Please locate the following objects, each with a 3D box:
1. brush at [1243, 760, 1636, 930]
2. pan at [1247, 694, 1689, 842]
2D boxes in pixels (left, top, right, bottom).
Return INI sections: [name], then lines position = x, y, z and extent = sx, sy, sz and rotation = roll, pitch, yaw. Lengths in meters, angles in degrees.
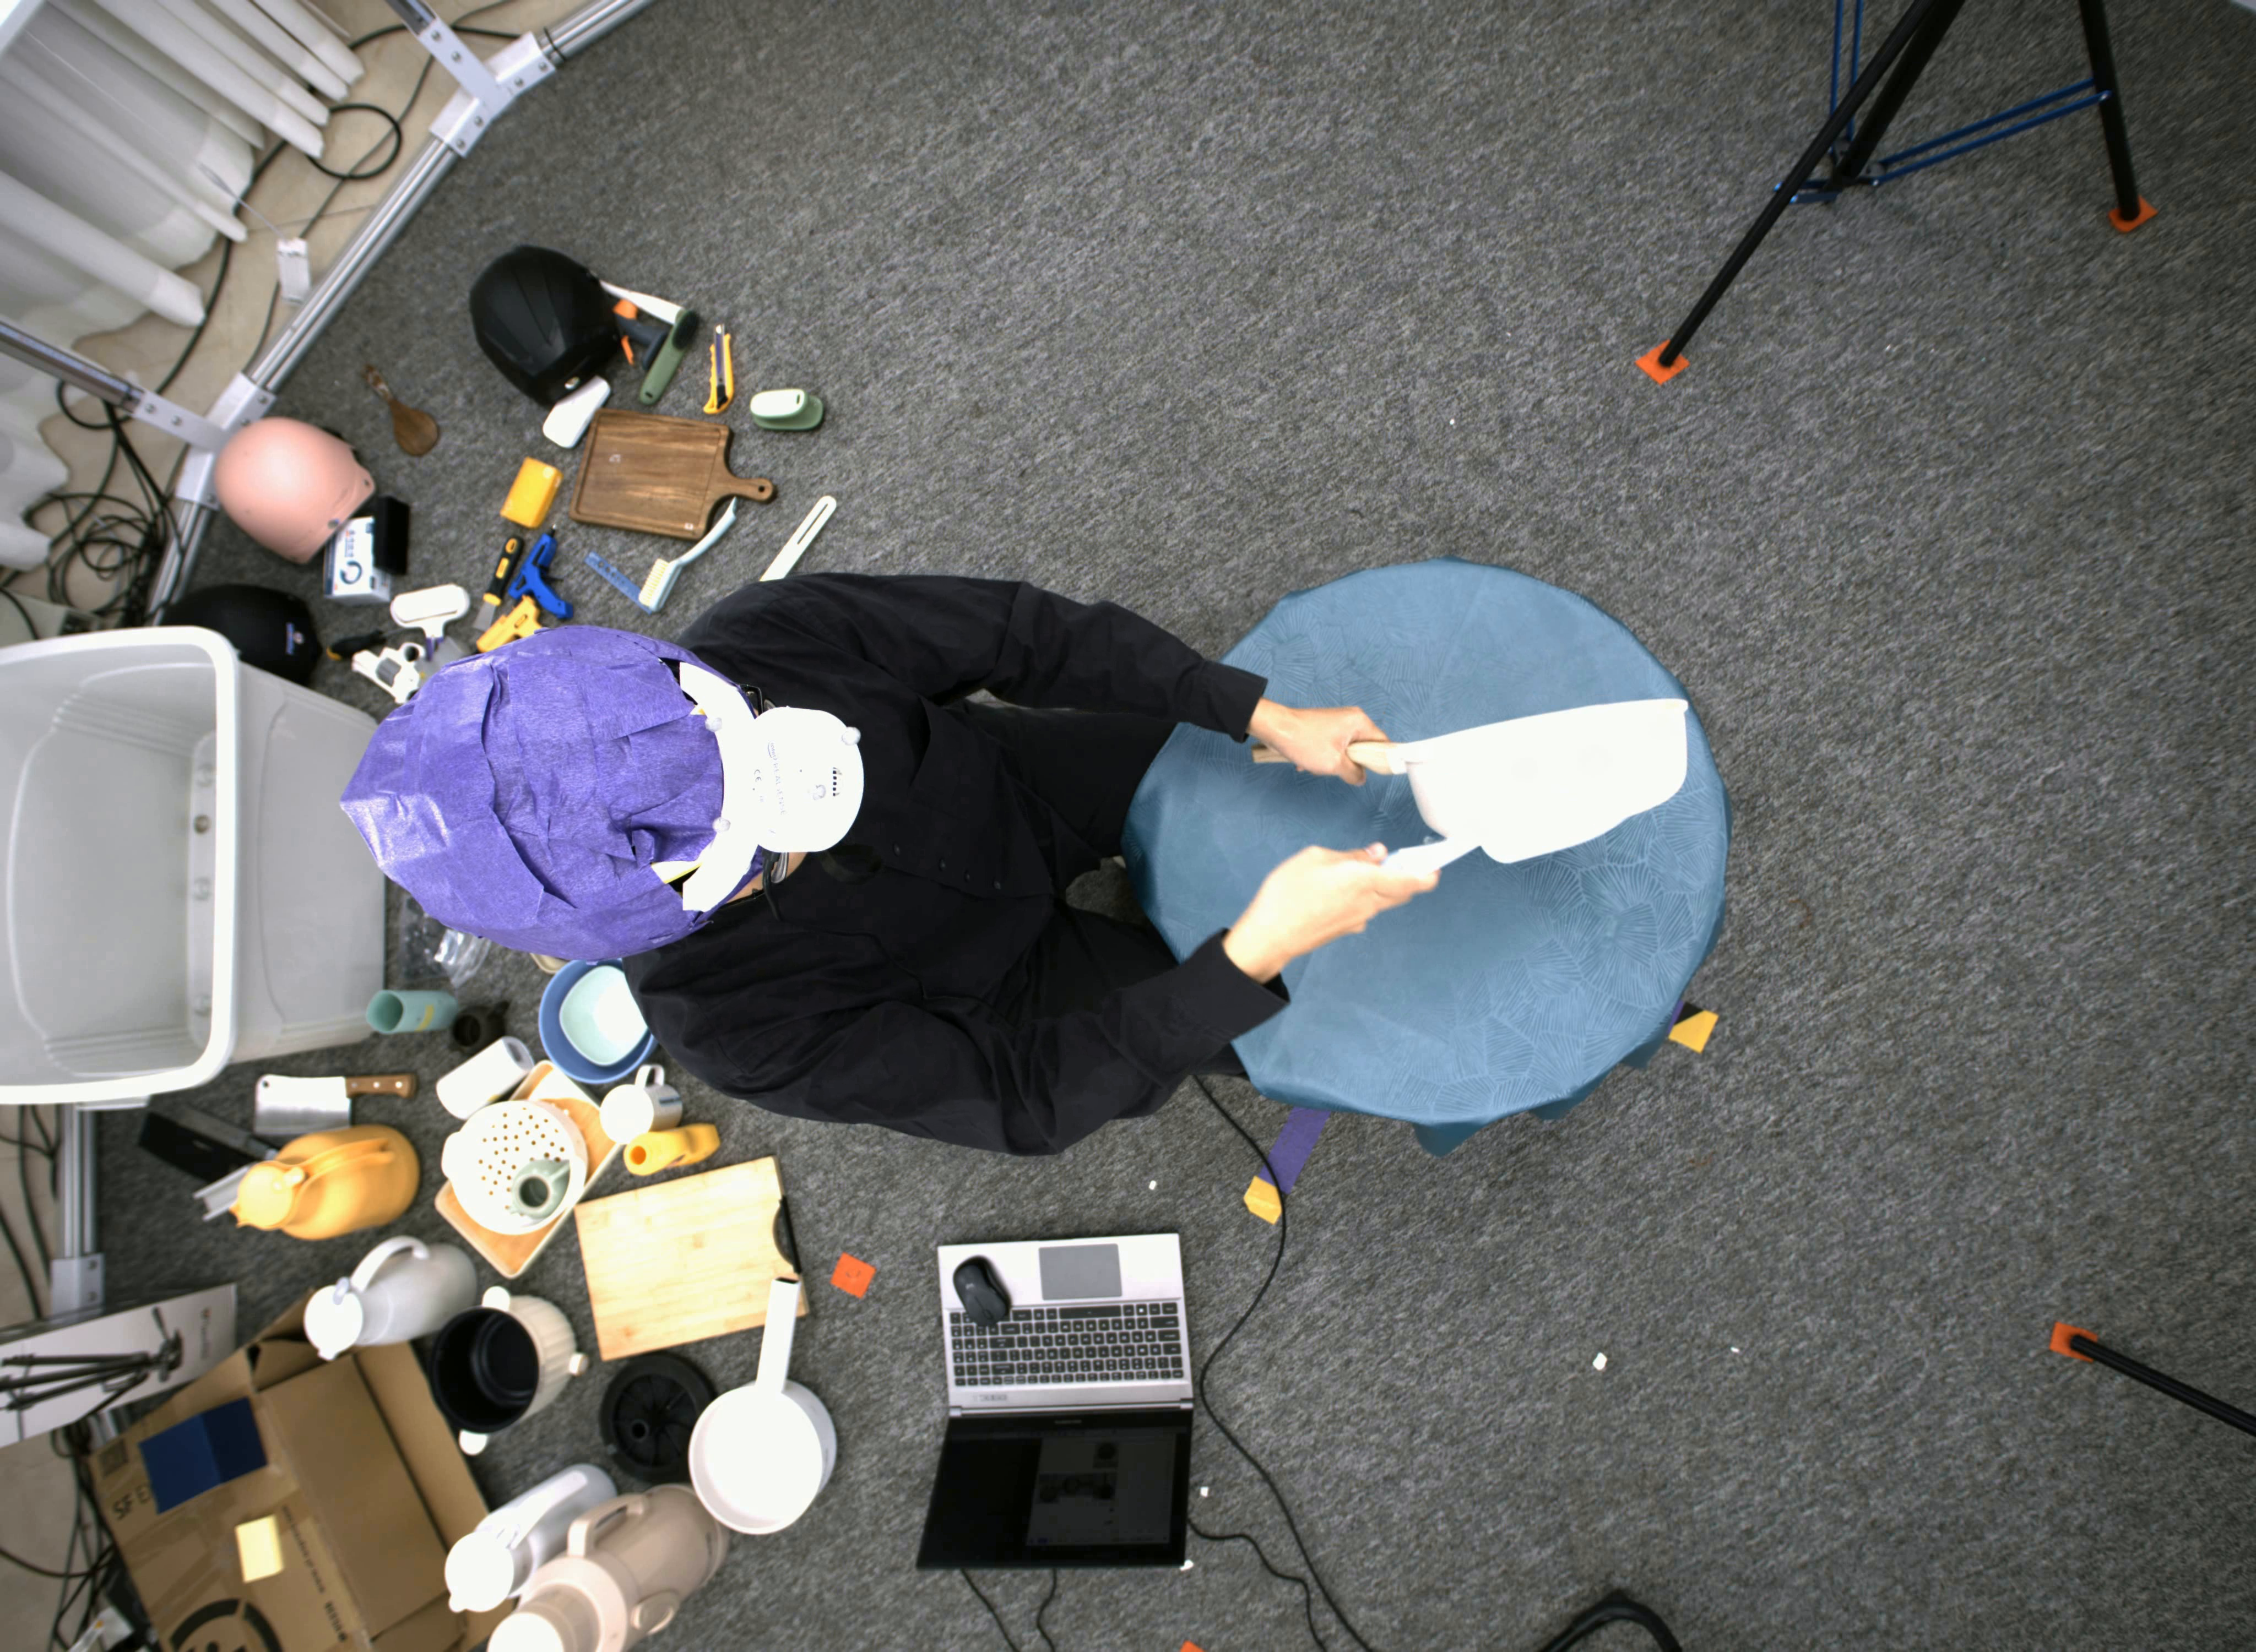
[brush]
position = 0.246, 0.012, 1.117
extent = 0.329, 0.085, 0.081
rotation = -19, 67, 19
[pan]
position = 0.302, -0.052, 1.280
extent = 0.439, 0.259, 0.103
rotation = -6, 102, 41
